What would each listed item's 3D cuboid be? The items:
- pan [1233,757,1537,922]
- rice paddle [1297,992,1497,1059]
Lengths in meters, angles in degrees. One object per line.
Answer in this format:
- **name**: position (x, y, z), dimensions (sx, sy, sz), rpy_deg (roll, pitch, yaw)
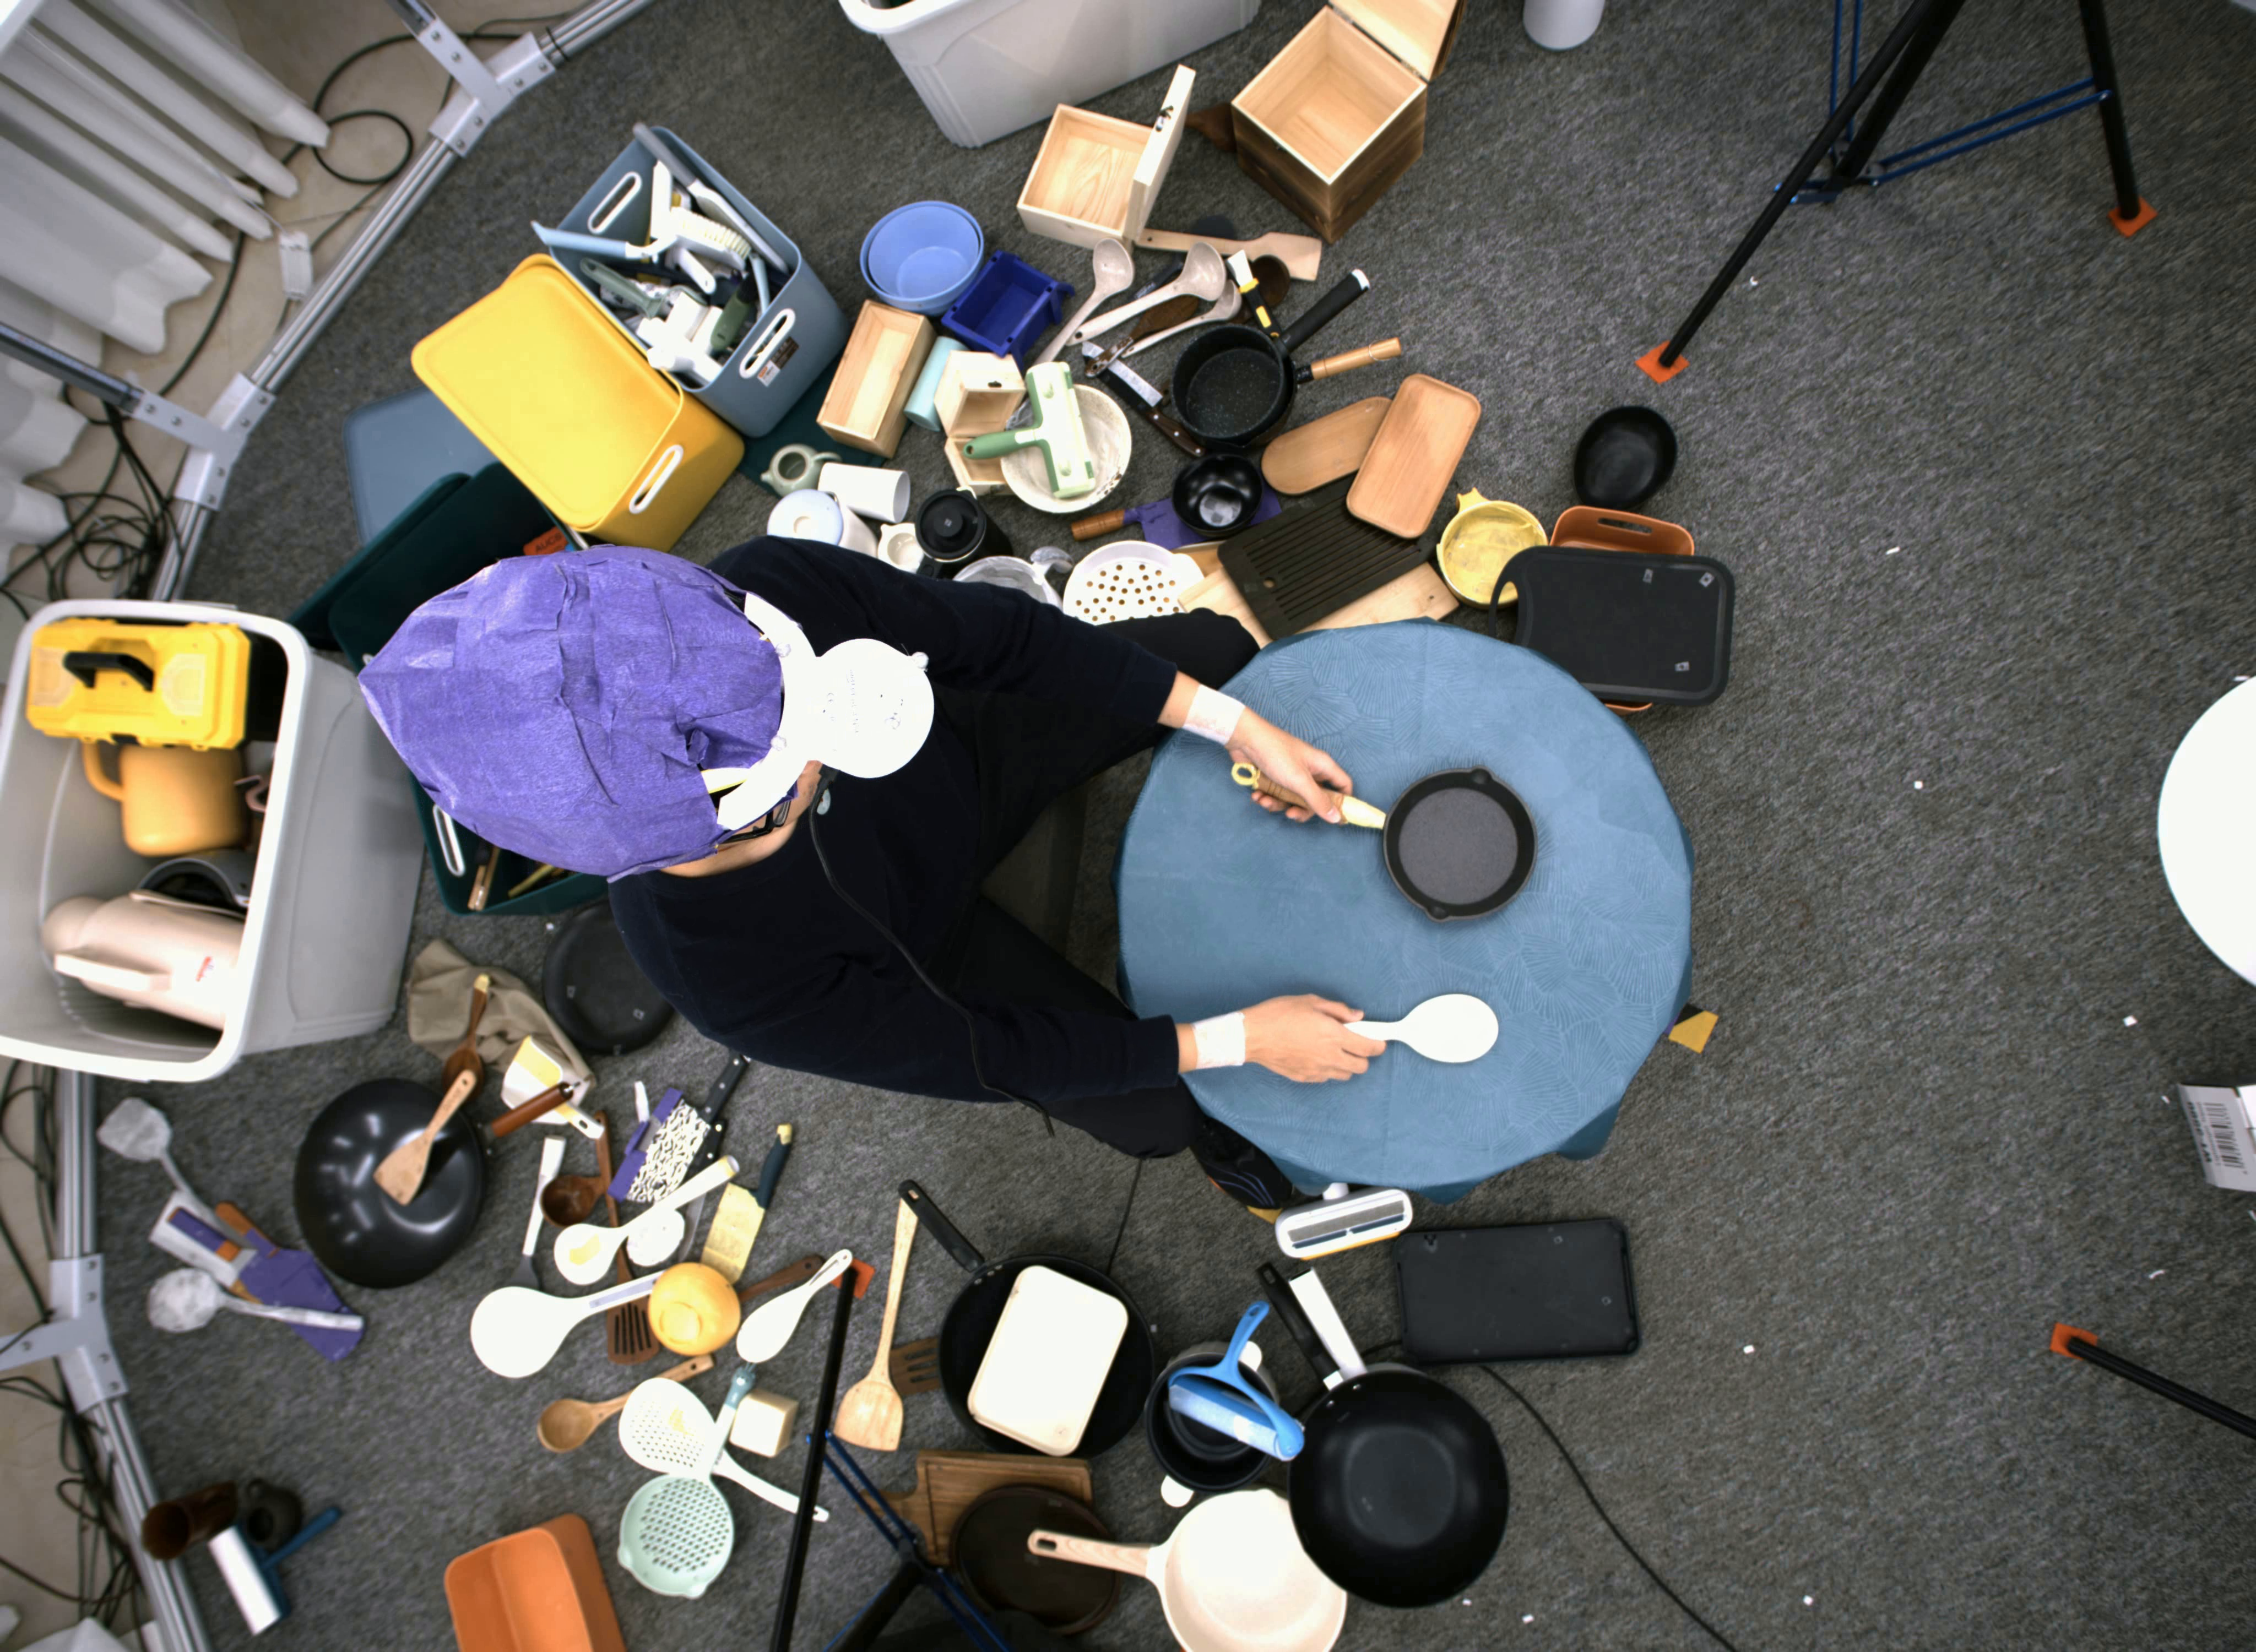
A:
- **pan**: position (0.265, -0.012, 1.440), dimensions (0.324, 0.049, 0.169), rpy_deg (21, 91, 9)
- **rice paddle**: position (0.279, 0.209, 1.434), dimensions (0.206, 0.029, 0.068), rpy_deg (-5, 82, 9)
